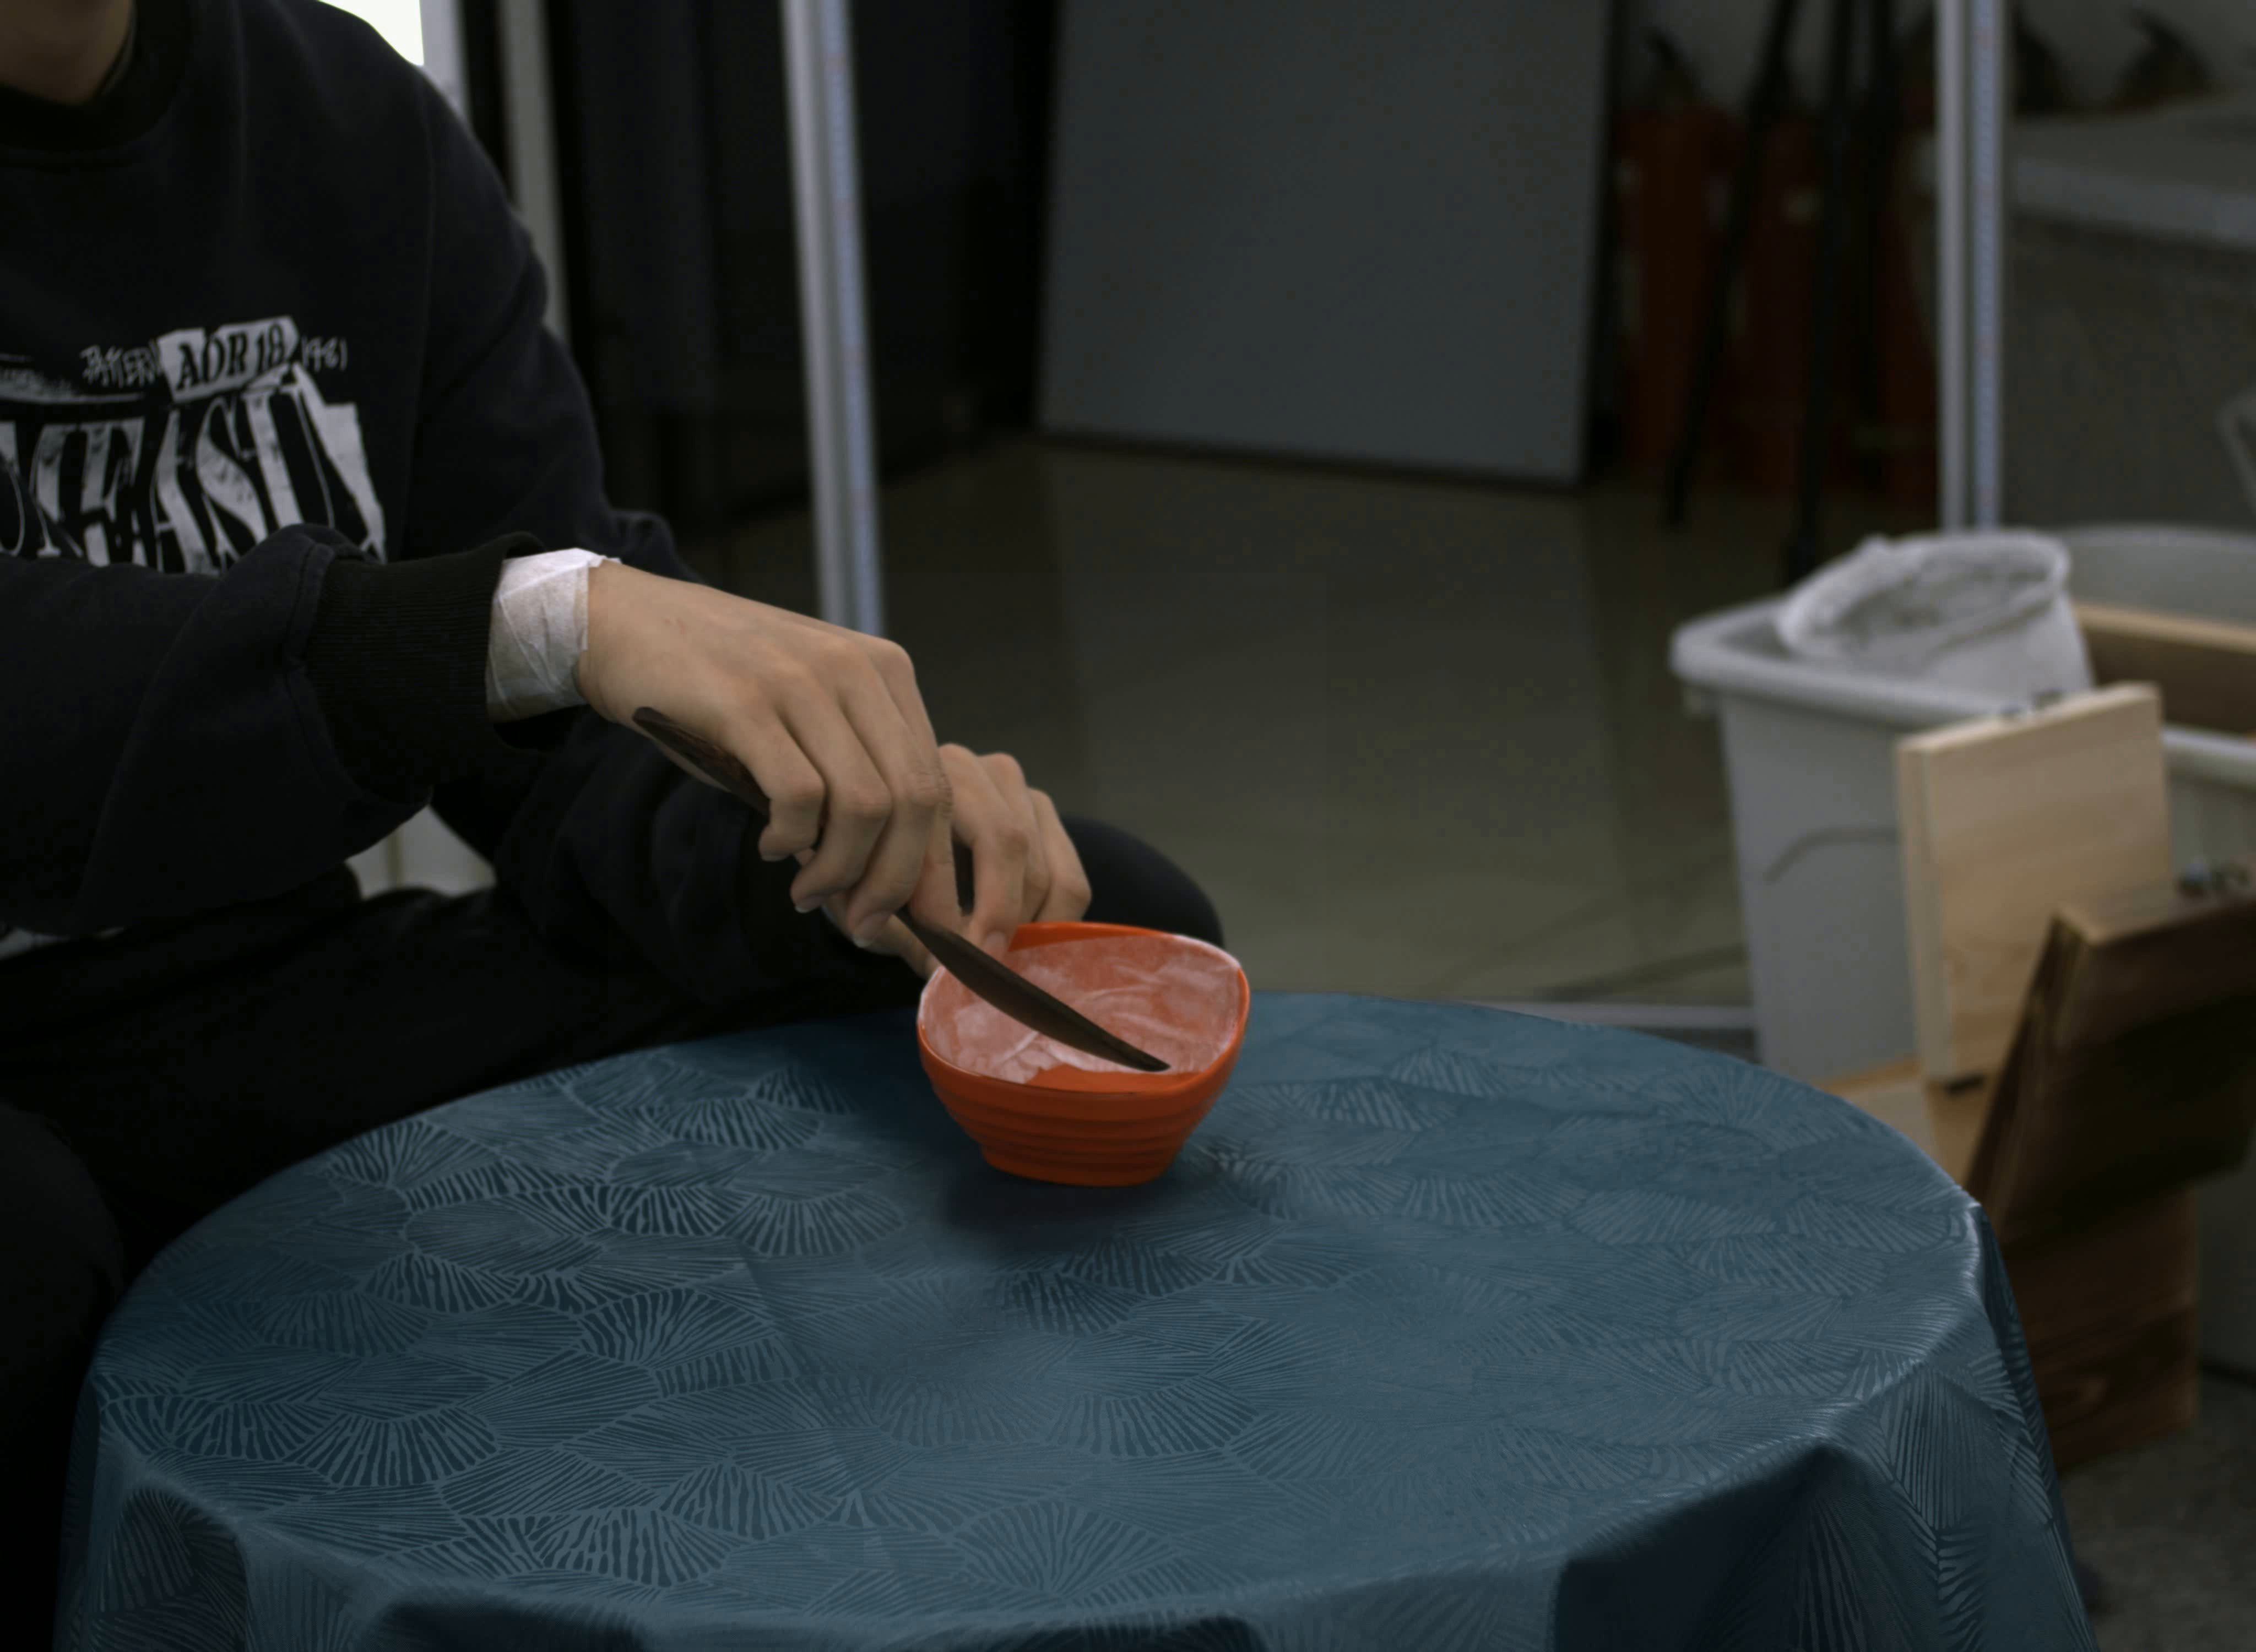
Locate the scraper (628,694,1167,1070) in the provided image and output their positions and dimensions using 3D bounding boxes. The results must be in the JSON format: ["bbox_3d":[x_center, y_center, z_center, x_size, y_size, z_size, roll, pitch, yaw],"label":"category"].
[{"bbox_3d":[-0.075,0.020,1.697,0.208,0.011,0.076,38,-13,-25],"label":"scraper"}]

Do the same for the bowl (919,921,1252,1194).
[{"bbox_3d":[-0.014,0.082,1.795,0.117,0.052,0.119,-1,30,0],"label":"bowl"}]
